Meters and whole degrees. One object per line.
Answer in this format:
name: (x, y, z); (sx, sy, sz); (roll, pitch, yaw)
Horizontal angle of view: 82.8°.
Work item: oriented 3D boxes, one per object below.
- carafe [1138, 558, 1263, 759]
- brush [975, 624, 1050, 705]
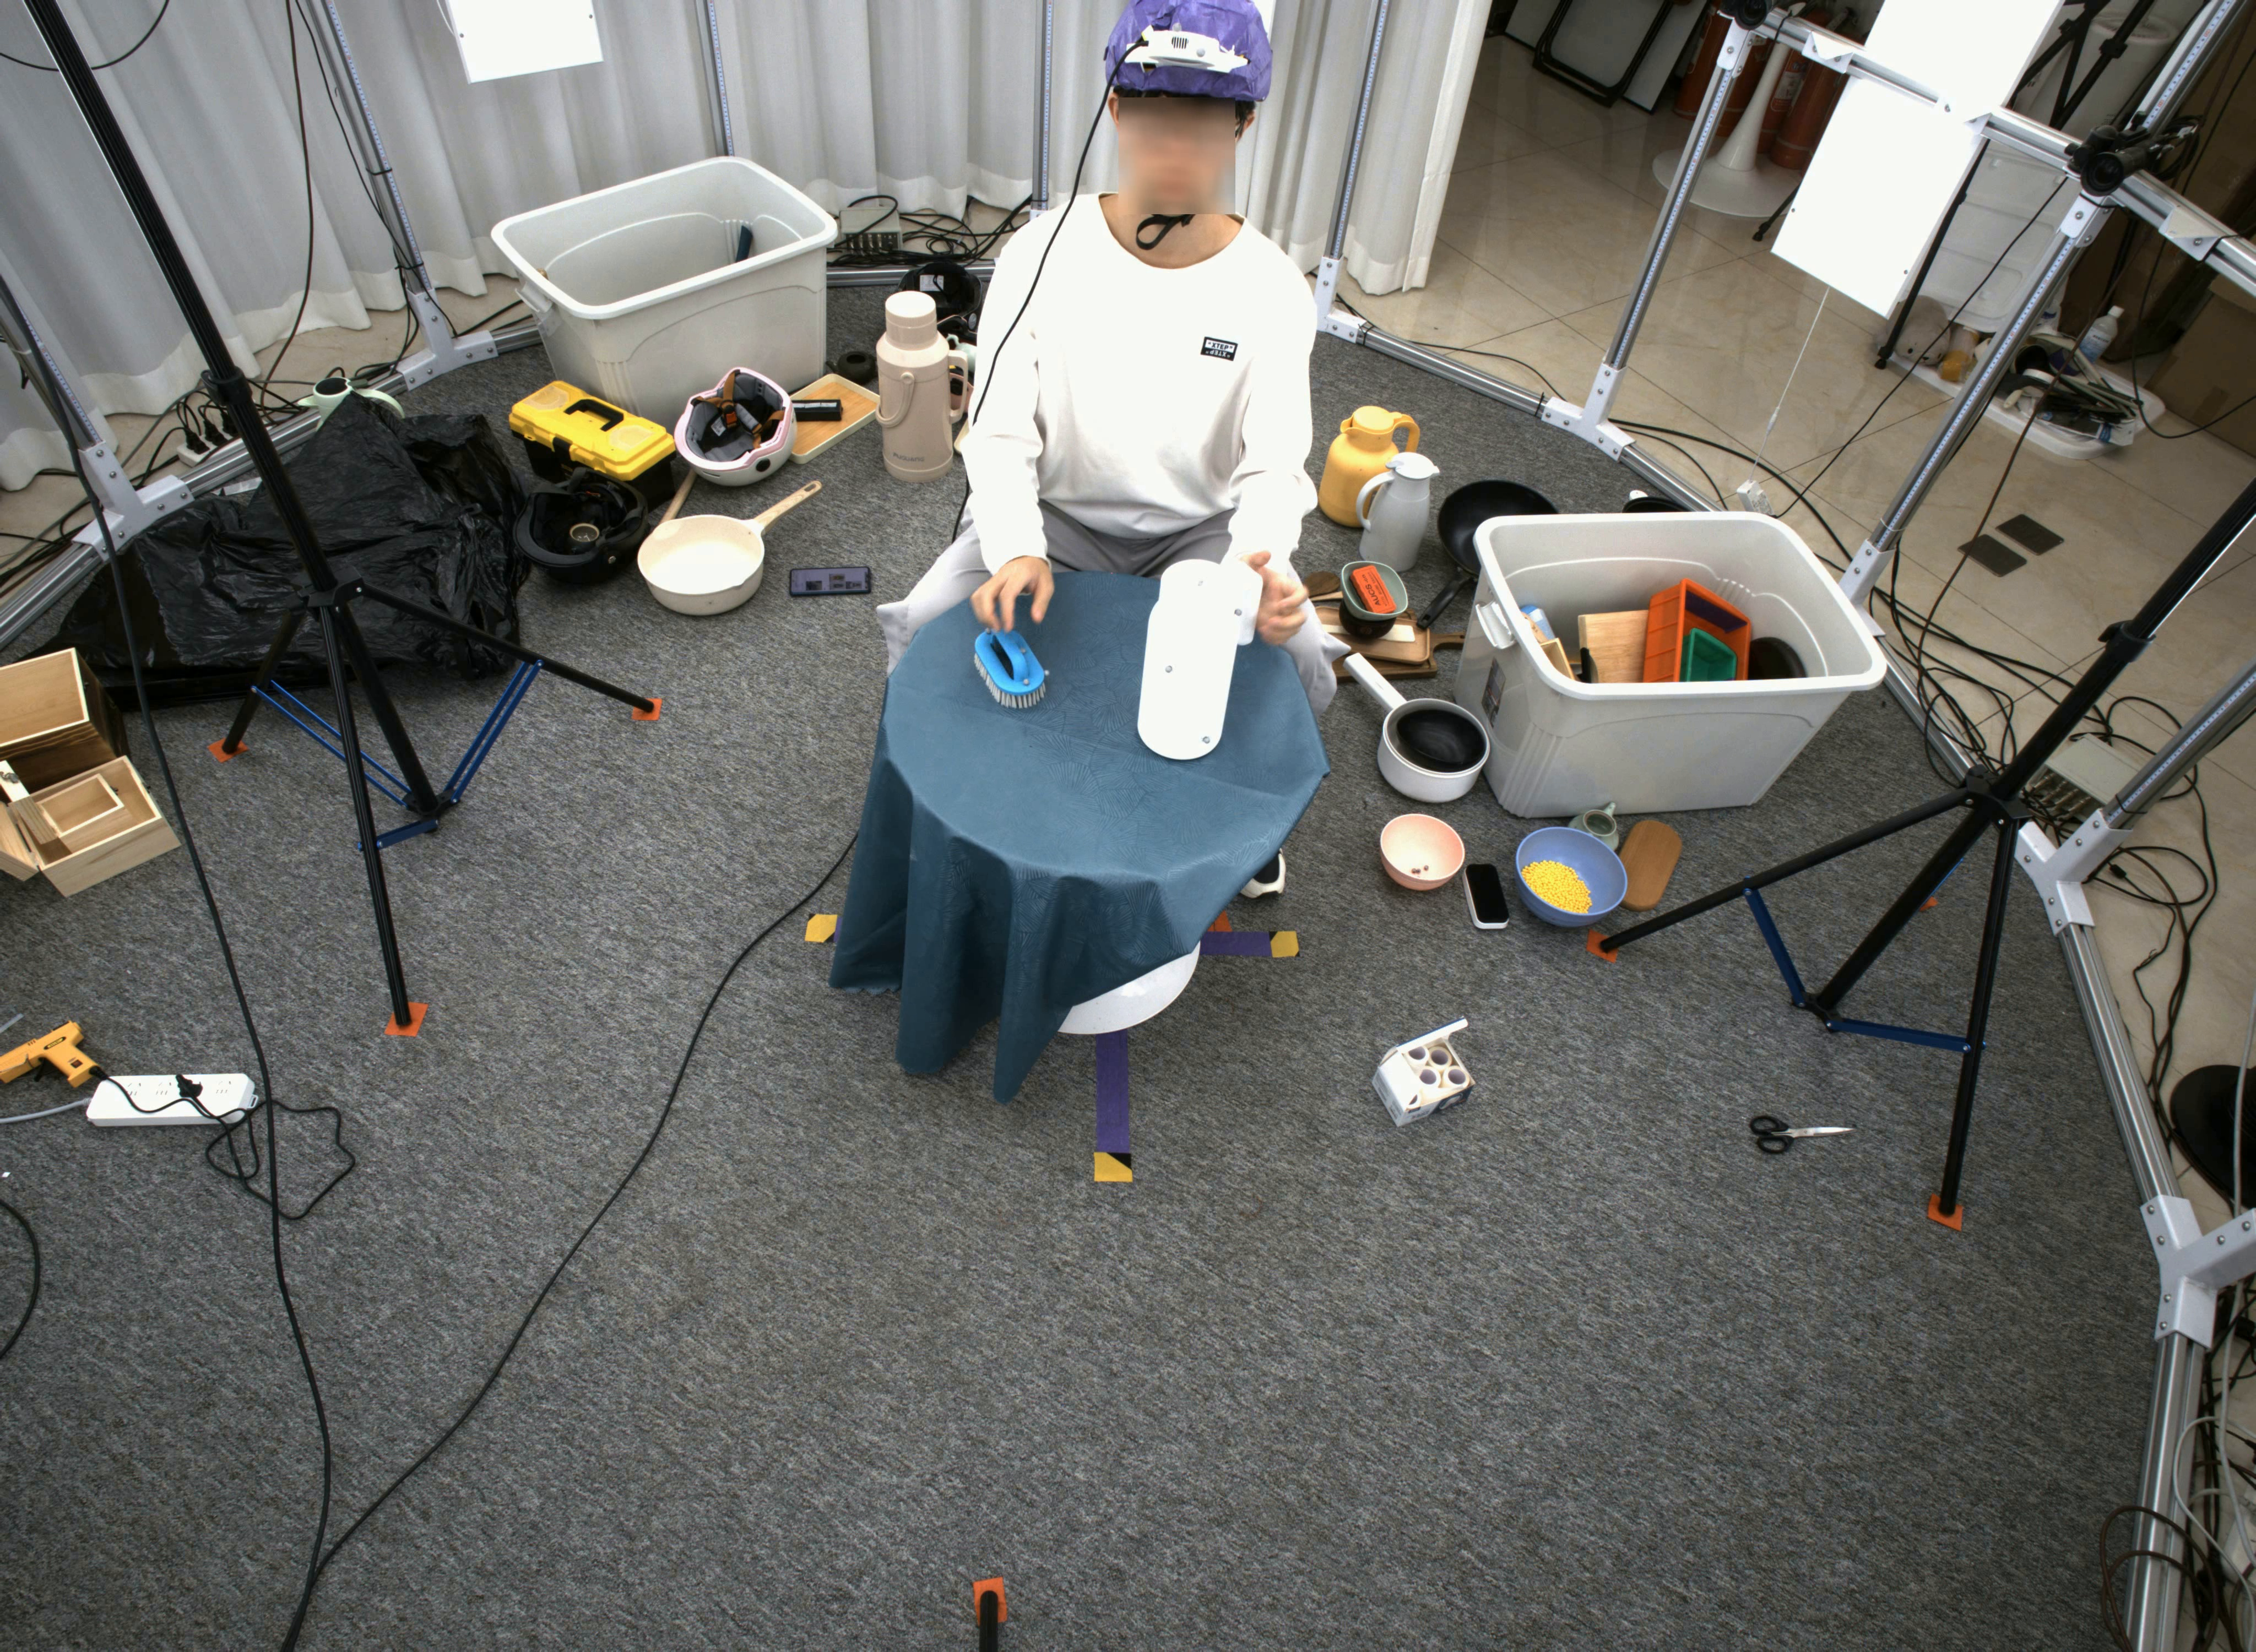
carafe: (0.093, -0.225, 1.695); (0.174, 0.262, 0.126); (-30, 56, -28)
brush: (-0.166, -0.239, 1.817); (0.084, 0.062, 0.145); (-20, 53, -14)
